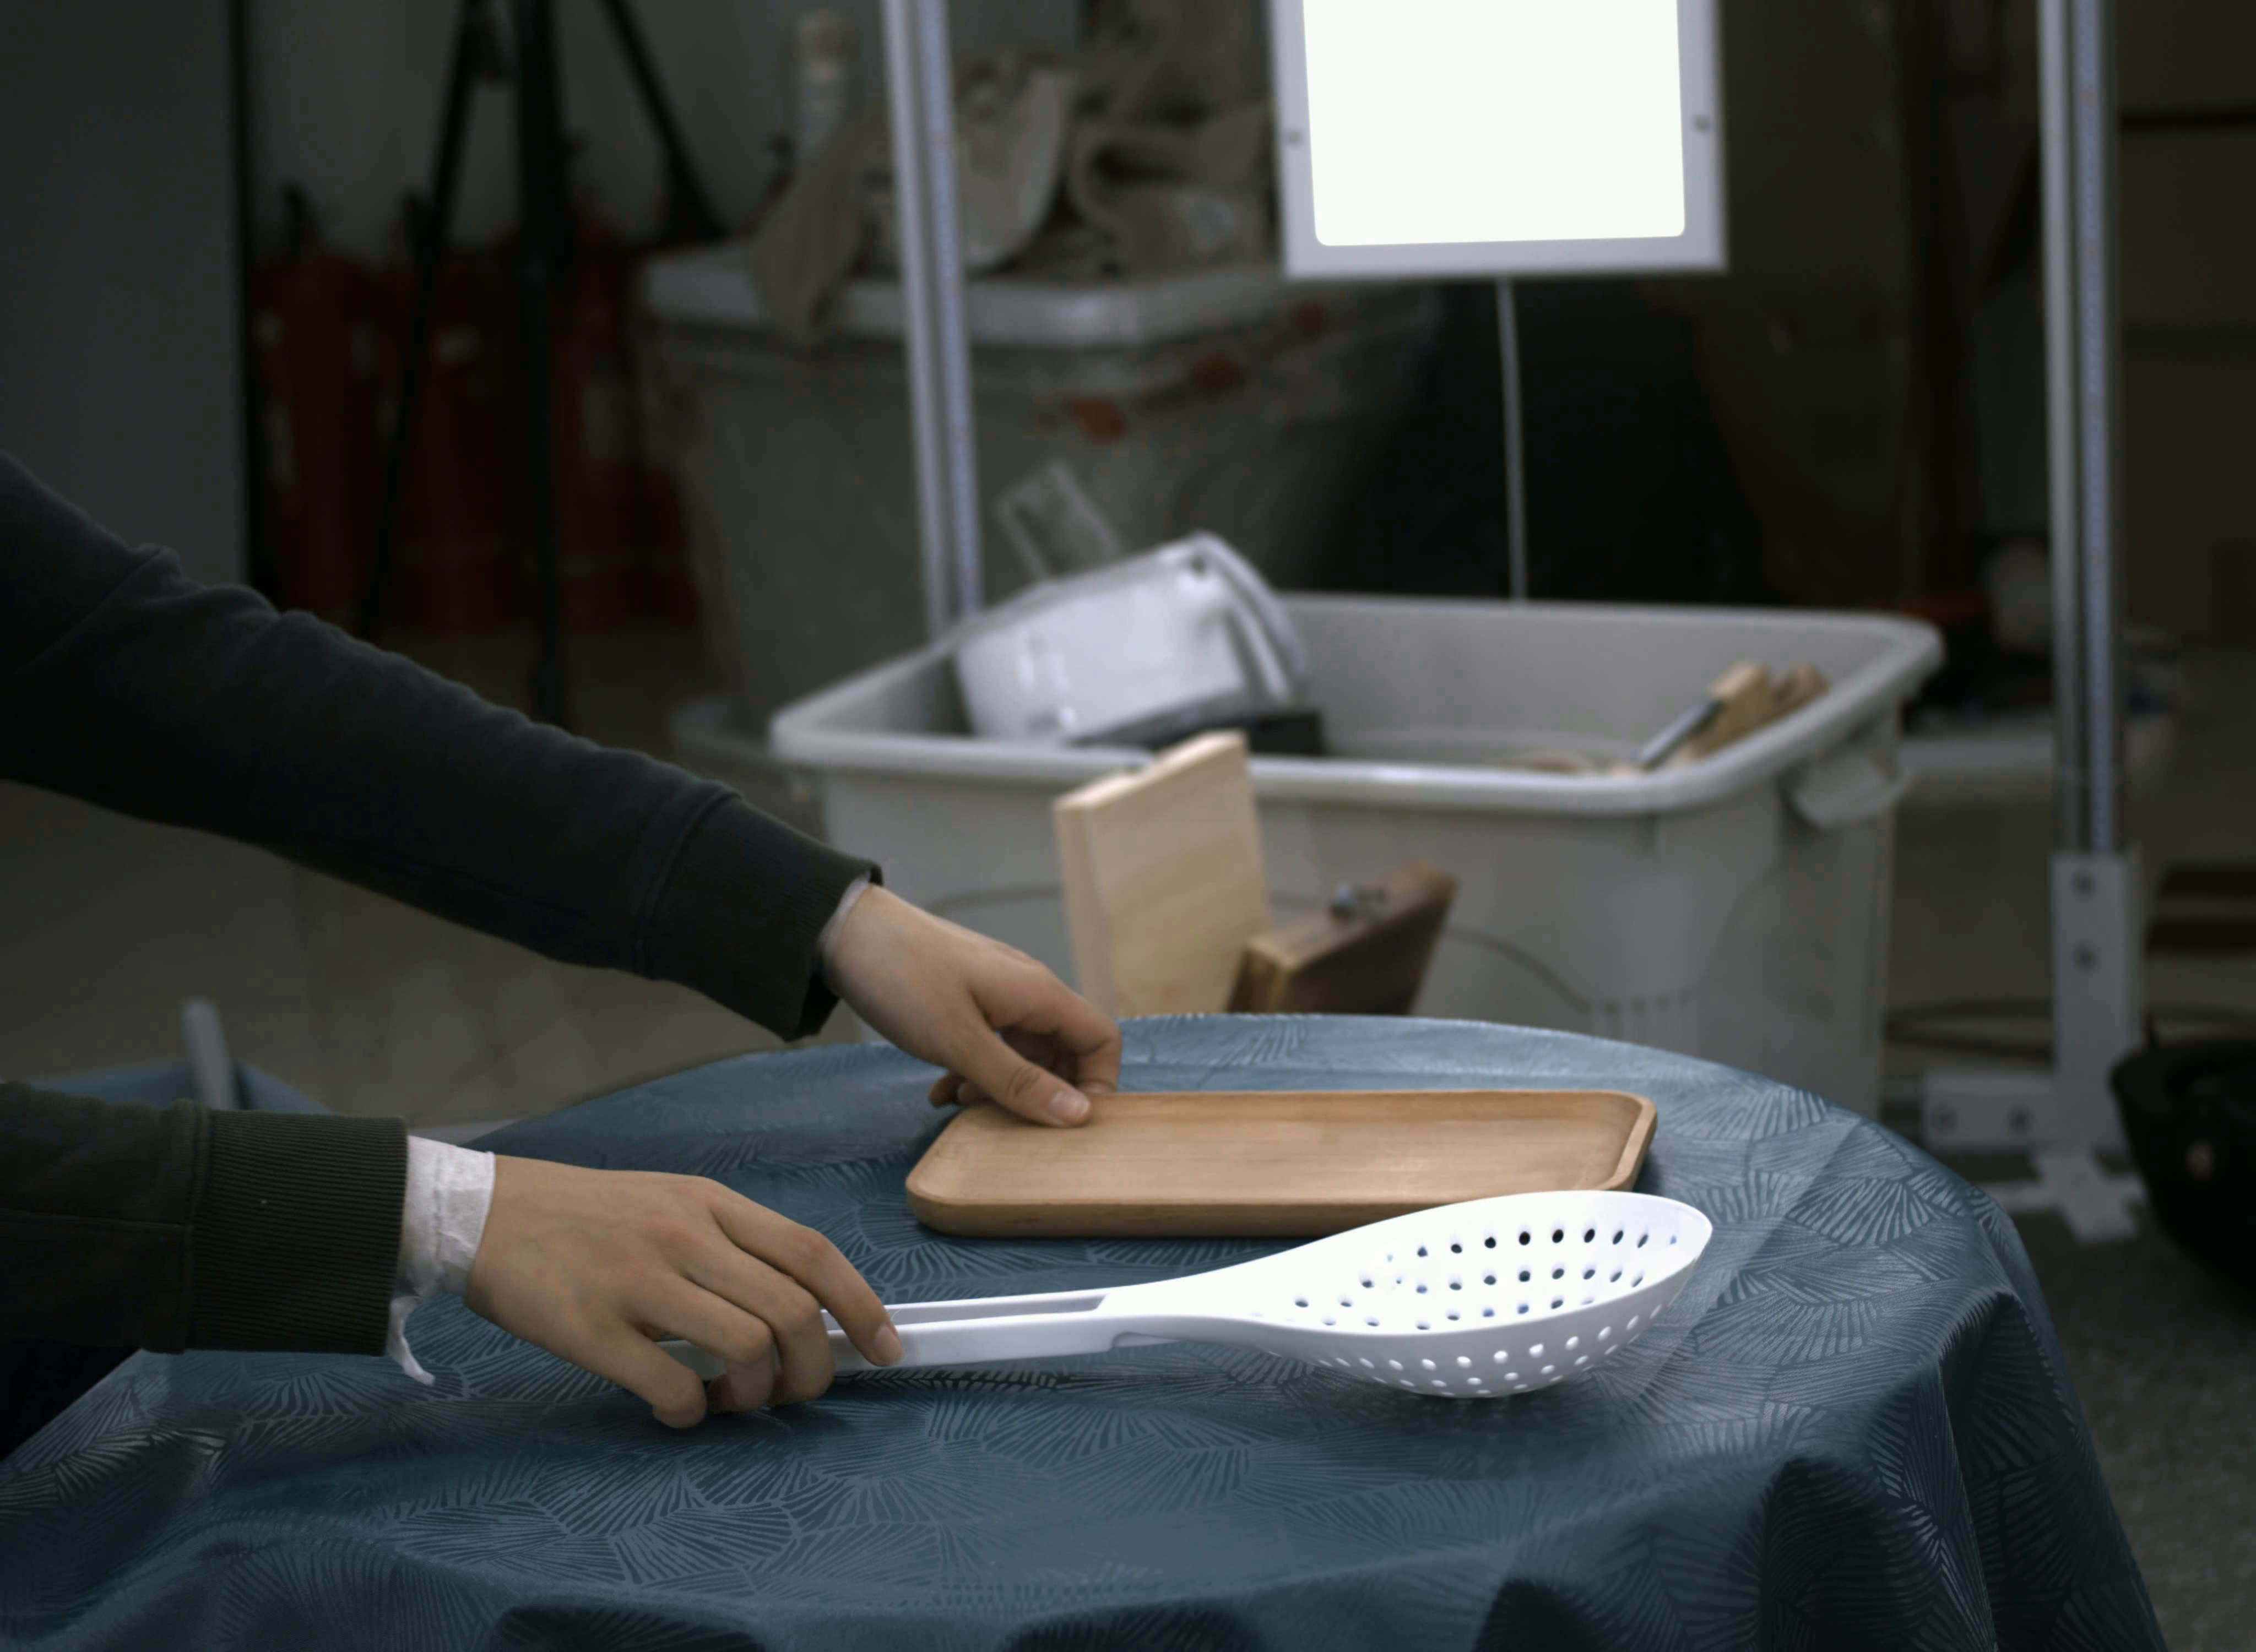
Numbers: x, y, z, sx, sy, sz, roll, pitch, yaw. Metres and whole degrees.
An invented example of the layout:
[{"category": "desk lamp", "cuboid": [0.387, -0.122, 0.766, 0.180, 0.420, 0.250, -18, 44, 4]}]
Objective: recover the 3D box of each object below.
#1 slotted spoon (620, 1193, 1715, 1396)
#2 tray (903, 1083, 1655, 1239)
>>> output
[{"category": "slotted spoon", "cuboid": [0.009, 0.150, 1.702, 0.353, 0.046, 0.134, -2, 12, 16]}, {"category": "tray", "cuboid": [0.053, 0.115, 1.889, 0.253, 0.023, 0.129, -2, 12, 16]}]
